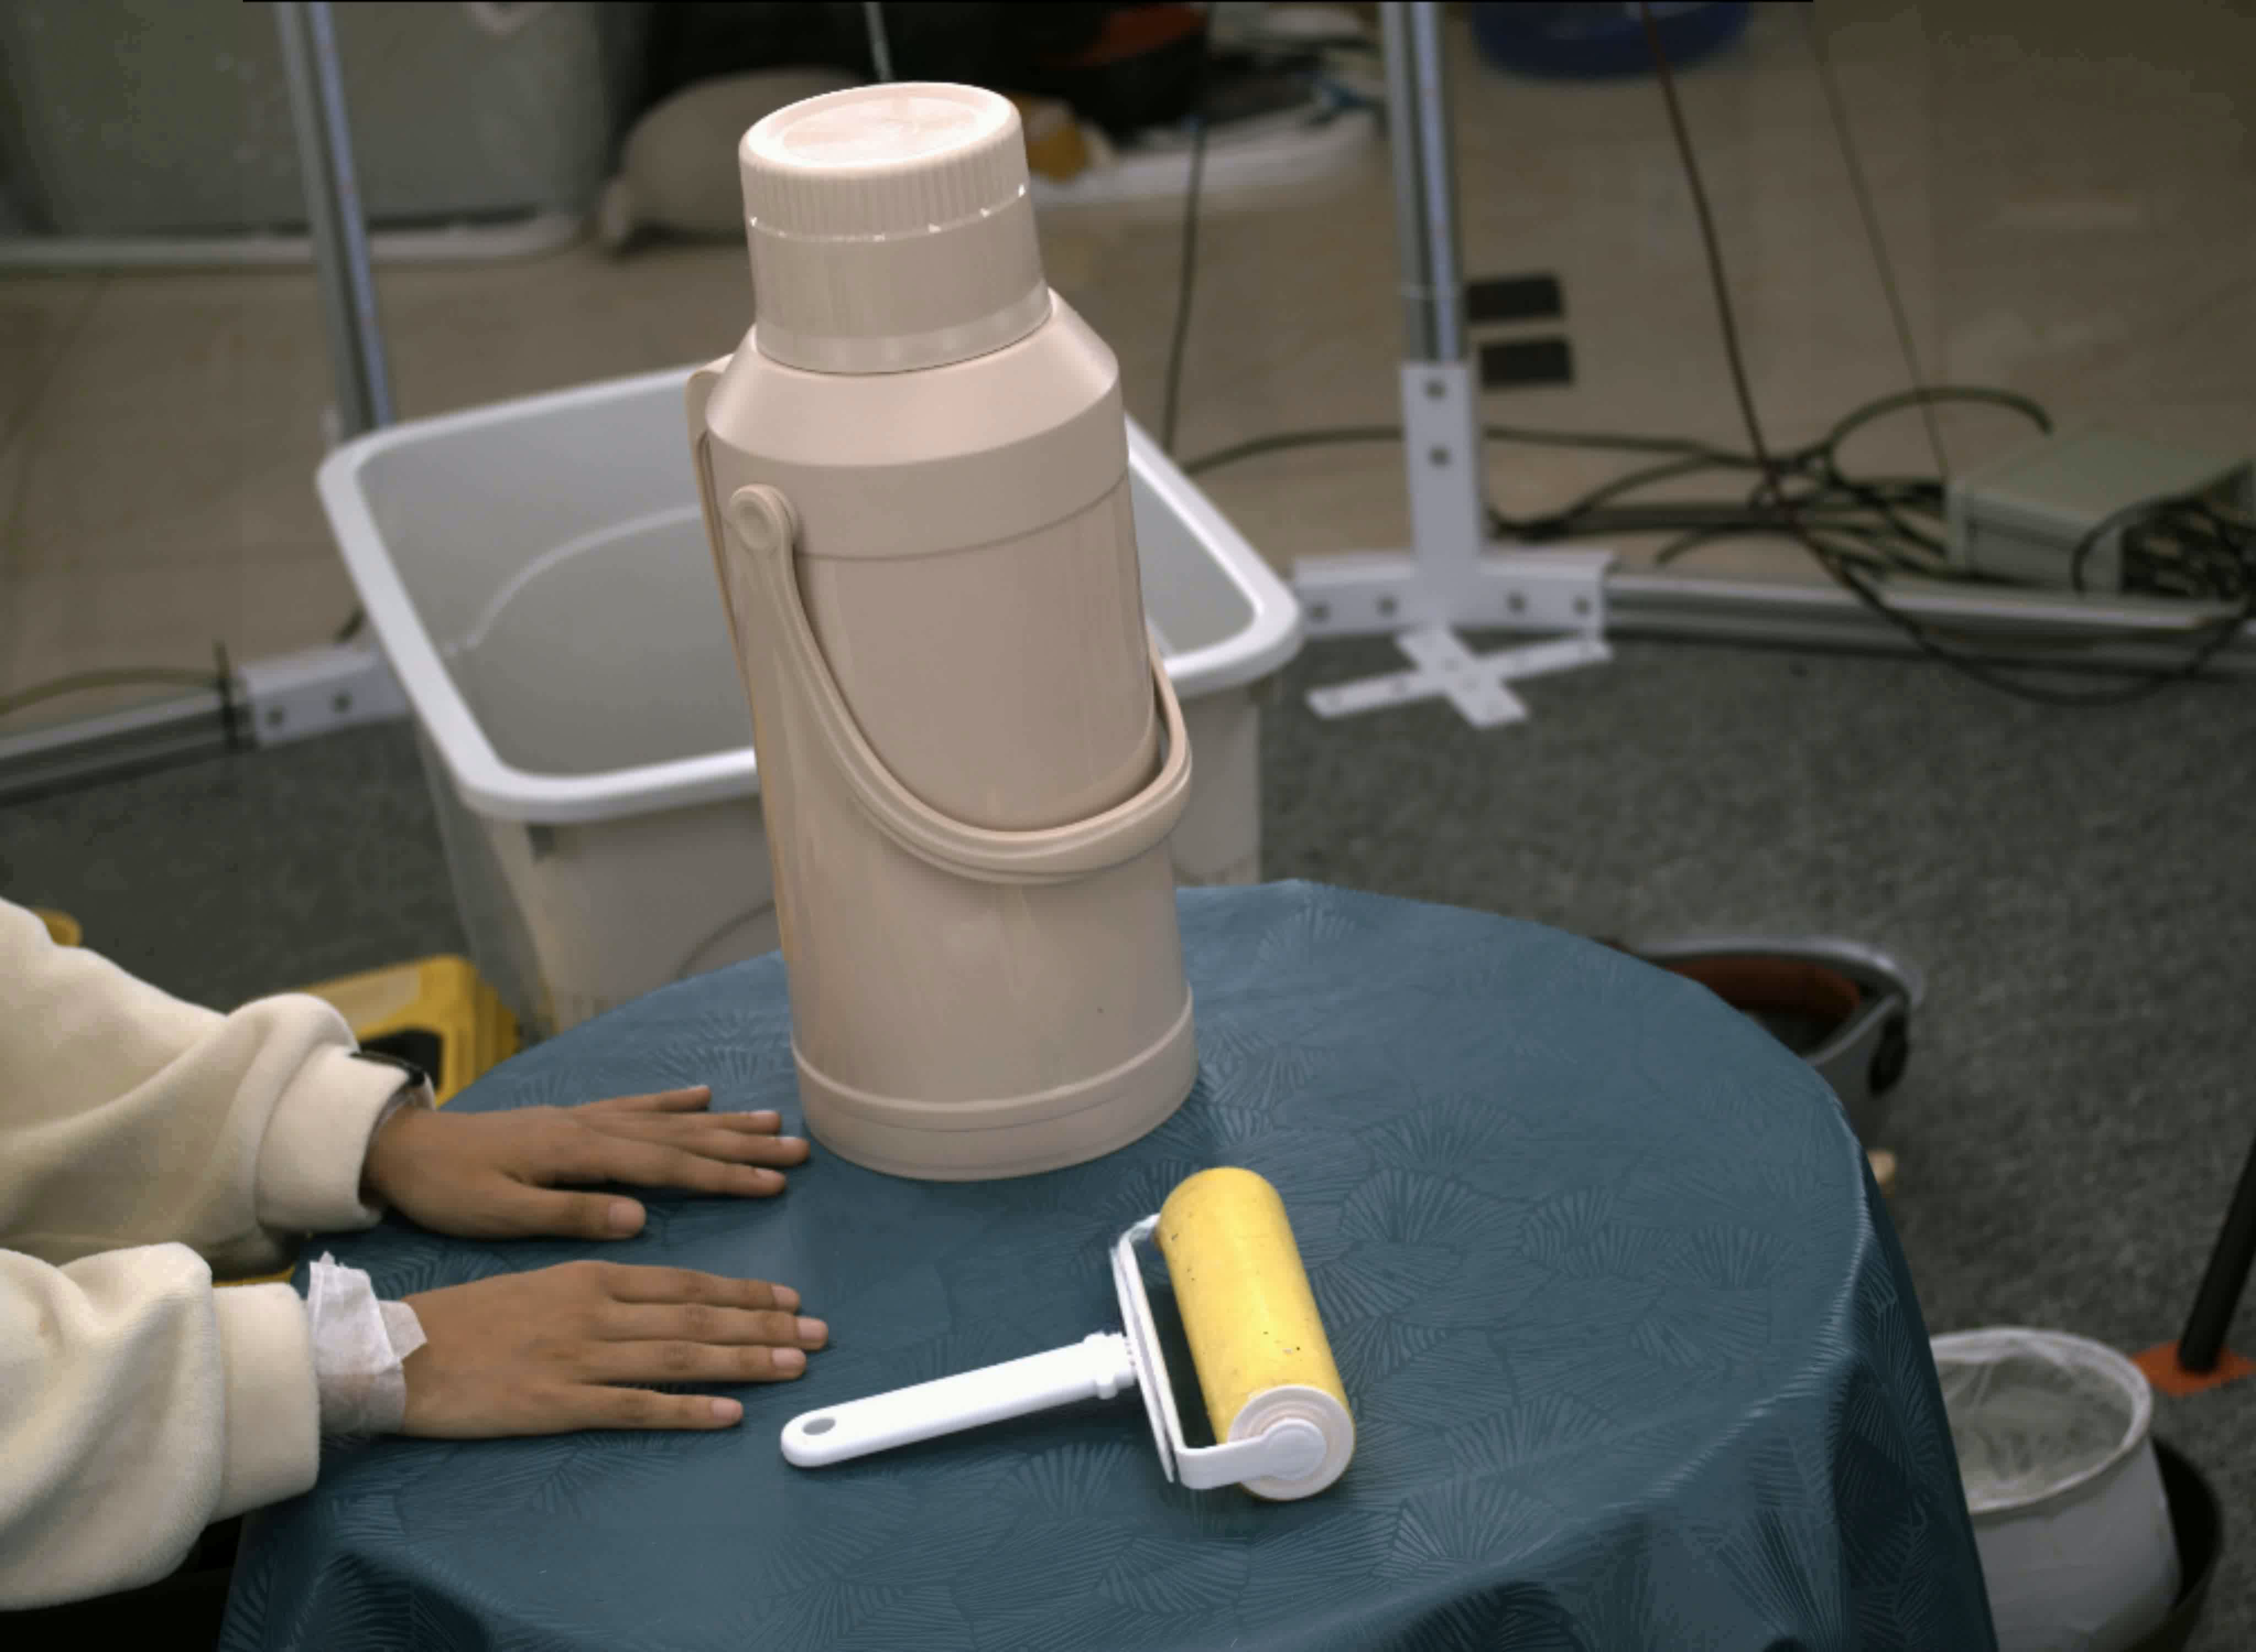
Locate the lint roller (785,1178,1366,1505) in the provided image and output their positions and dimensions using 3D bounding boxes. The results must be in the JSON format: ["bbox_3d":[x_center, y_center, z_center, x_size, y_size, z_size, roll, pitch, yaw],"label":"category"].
[{"bbox_3d":[-0.025,0.185,1.990,0.192,0.052,0.172,-2,24,-8],"label":"lint roller"}]

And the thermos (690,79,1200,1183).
[{"bbox_3d":[-0.079,-0.078,2.158,0.205,0.413,0.173,17,35,40],"label":"thermos"}]
